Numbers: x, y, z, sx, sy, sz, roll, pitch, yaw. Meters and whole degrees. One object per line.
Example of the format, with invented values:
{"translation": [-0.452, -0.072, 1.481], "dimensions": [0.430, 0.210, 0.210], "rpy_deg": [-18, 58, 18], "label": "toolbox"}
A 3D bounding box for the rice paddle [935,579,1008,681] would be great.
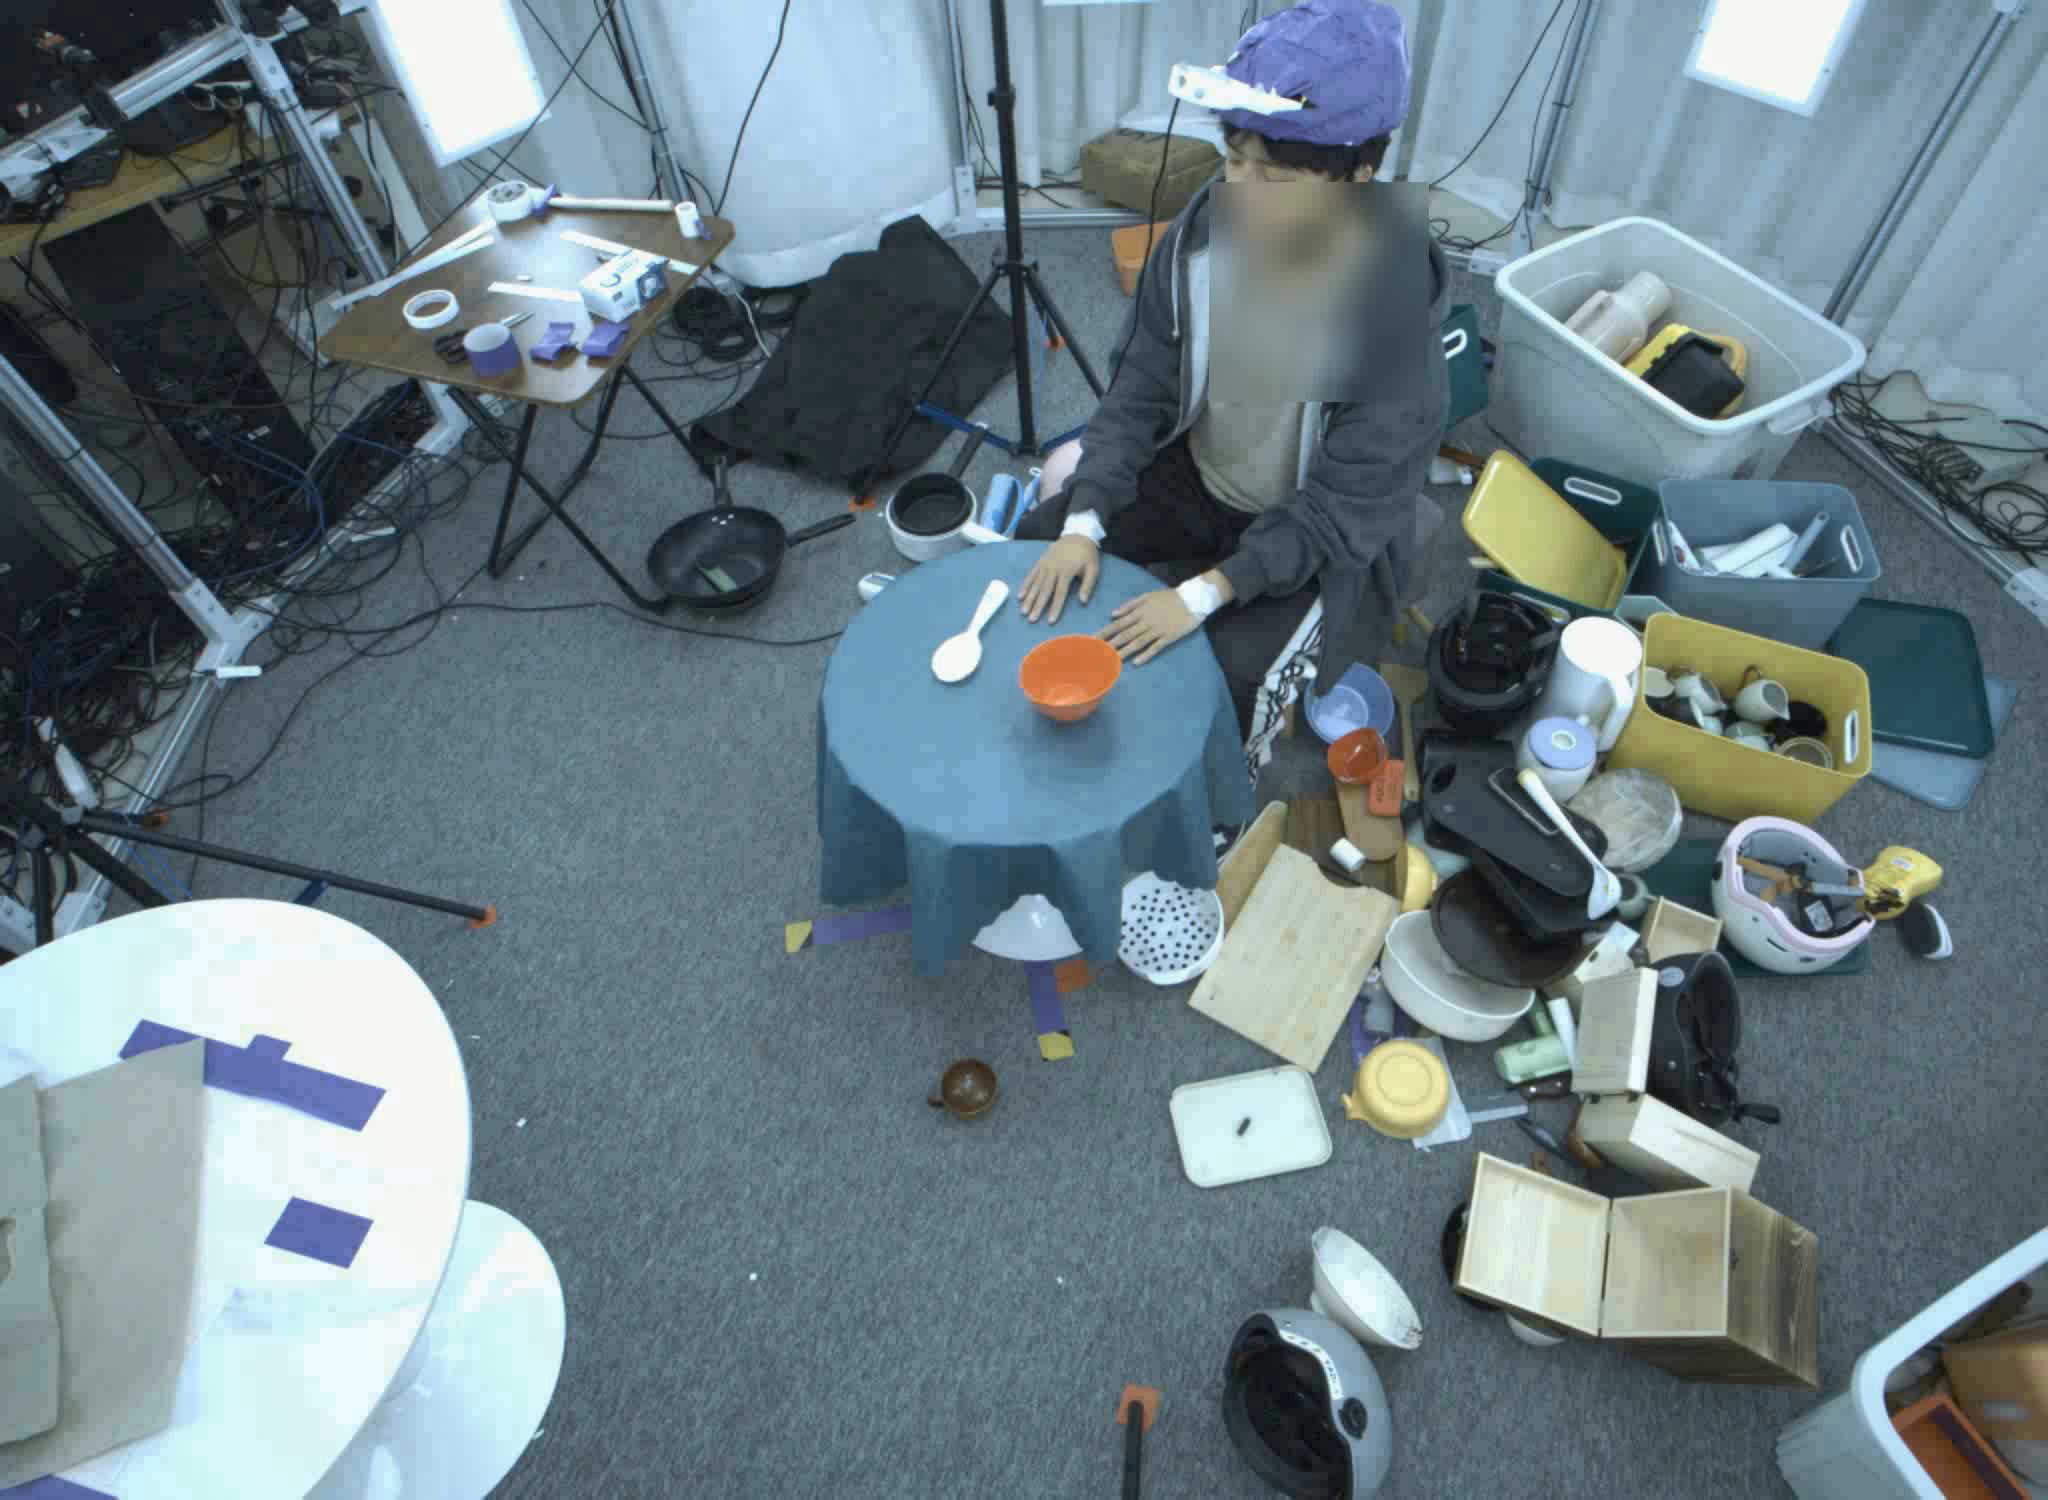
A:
{"translation": [-0.078, -0.185, 1.906], "dimensions": [0.068, 0.030, 0.205], "rpy_deg": [17, 57, 15], "label": "rice paddle"}

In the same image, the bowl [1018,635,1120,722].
{"translation": [0.066, -0.090, 1.790], "dimensions": [0.148, 0.106, 0.146], "rpy_deg": [-2, 54, 3], "label": "bowl"}
